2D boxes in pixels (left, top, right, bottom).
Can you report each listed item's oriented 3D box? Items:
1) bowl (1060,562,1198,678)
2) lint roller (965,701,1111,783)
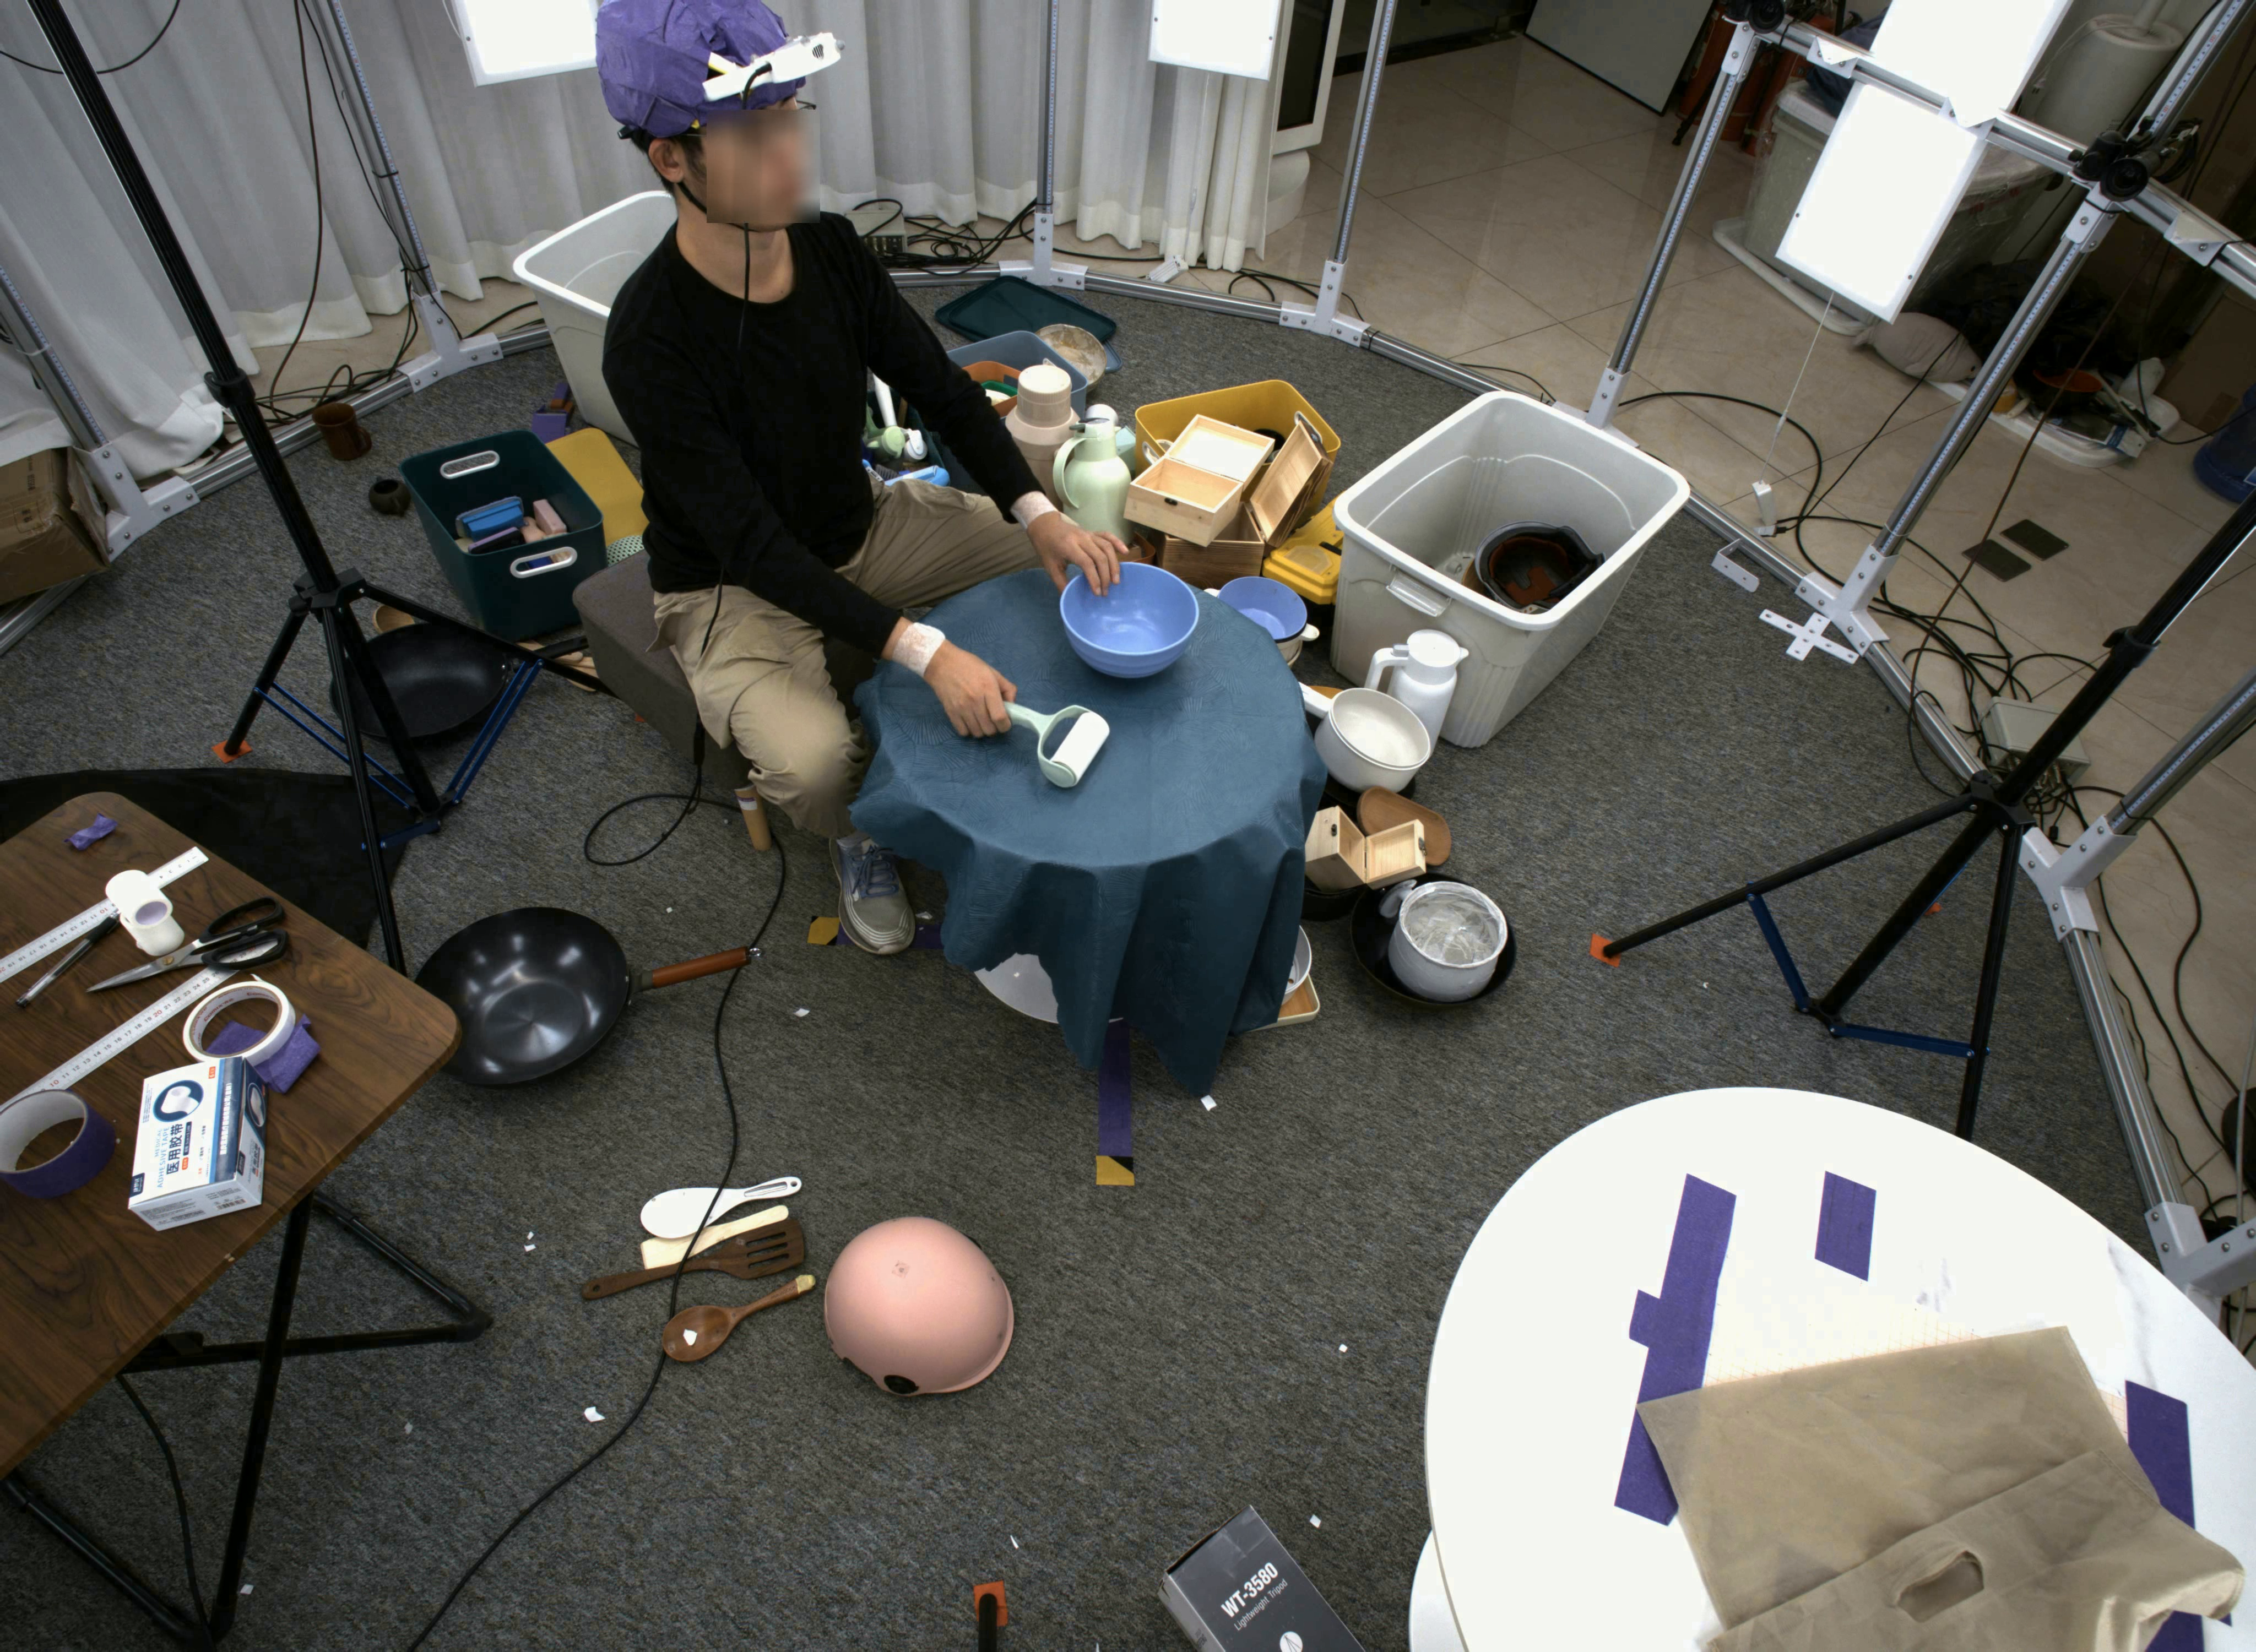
[{"bbox_3d":[0.000,-0.282,1.852,0.196,0.093,0.201,1,50,-2],"label":"bowl"},{"bbox_3d":[-0.129,-0.138,1.741,0.198,0.047,0.119,24,53,9],"label":"lint roller"}]
